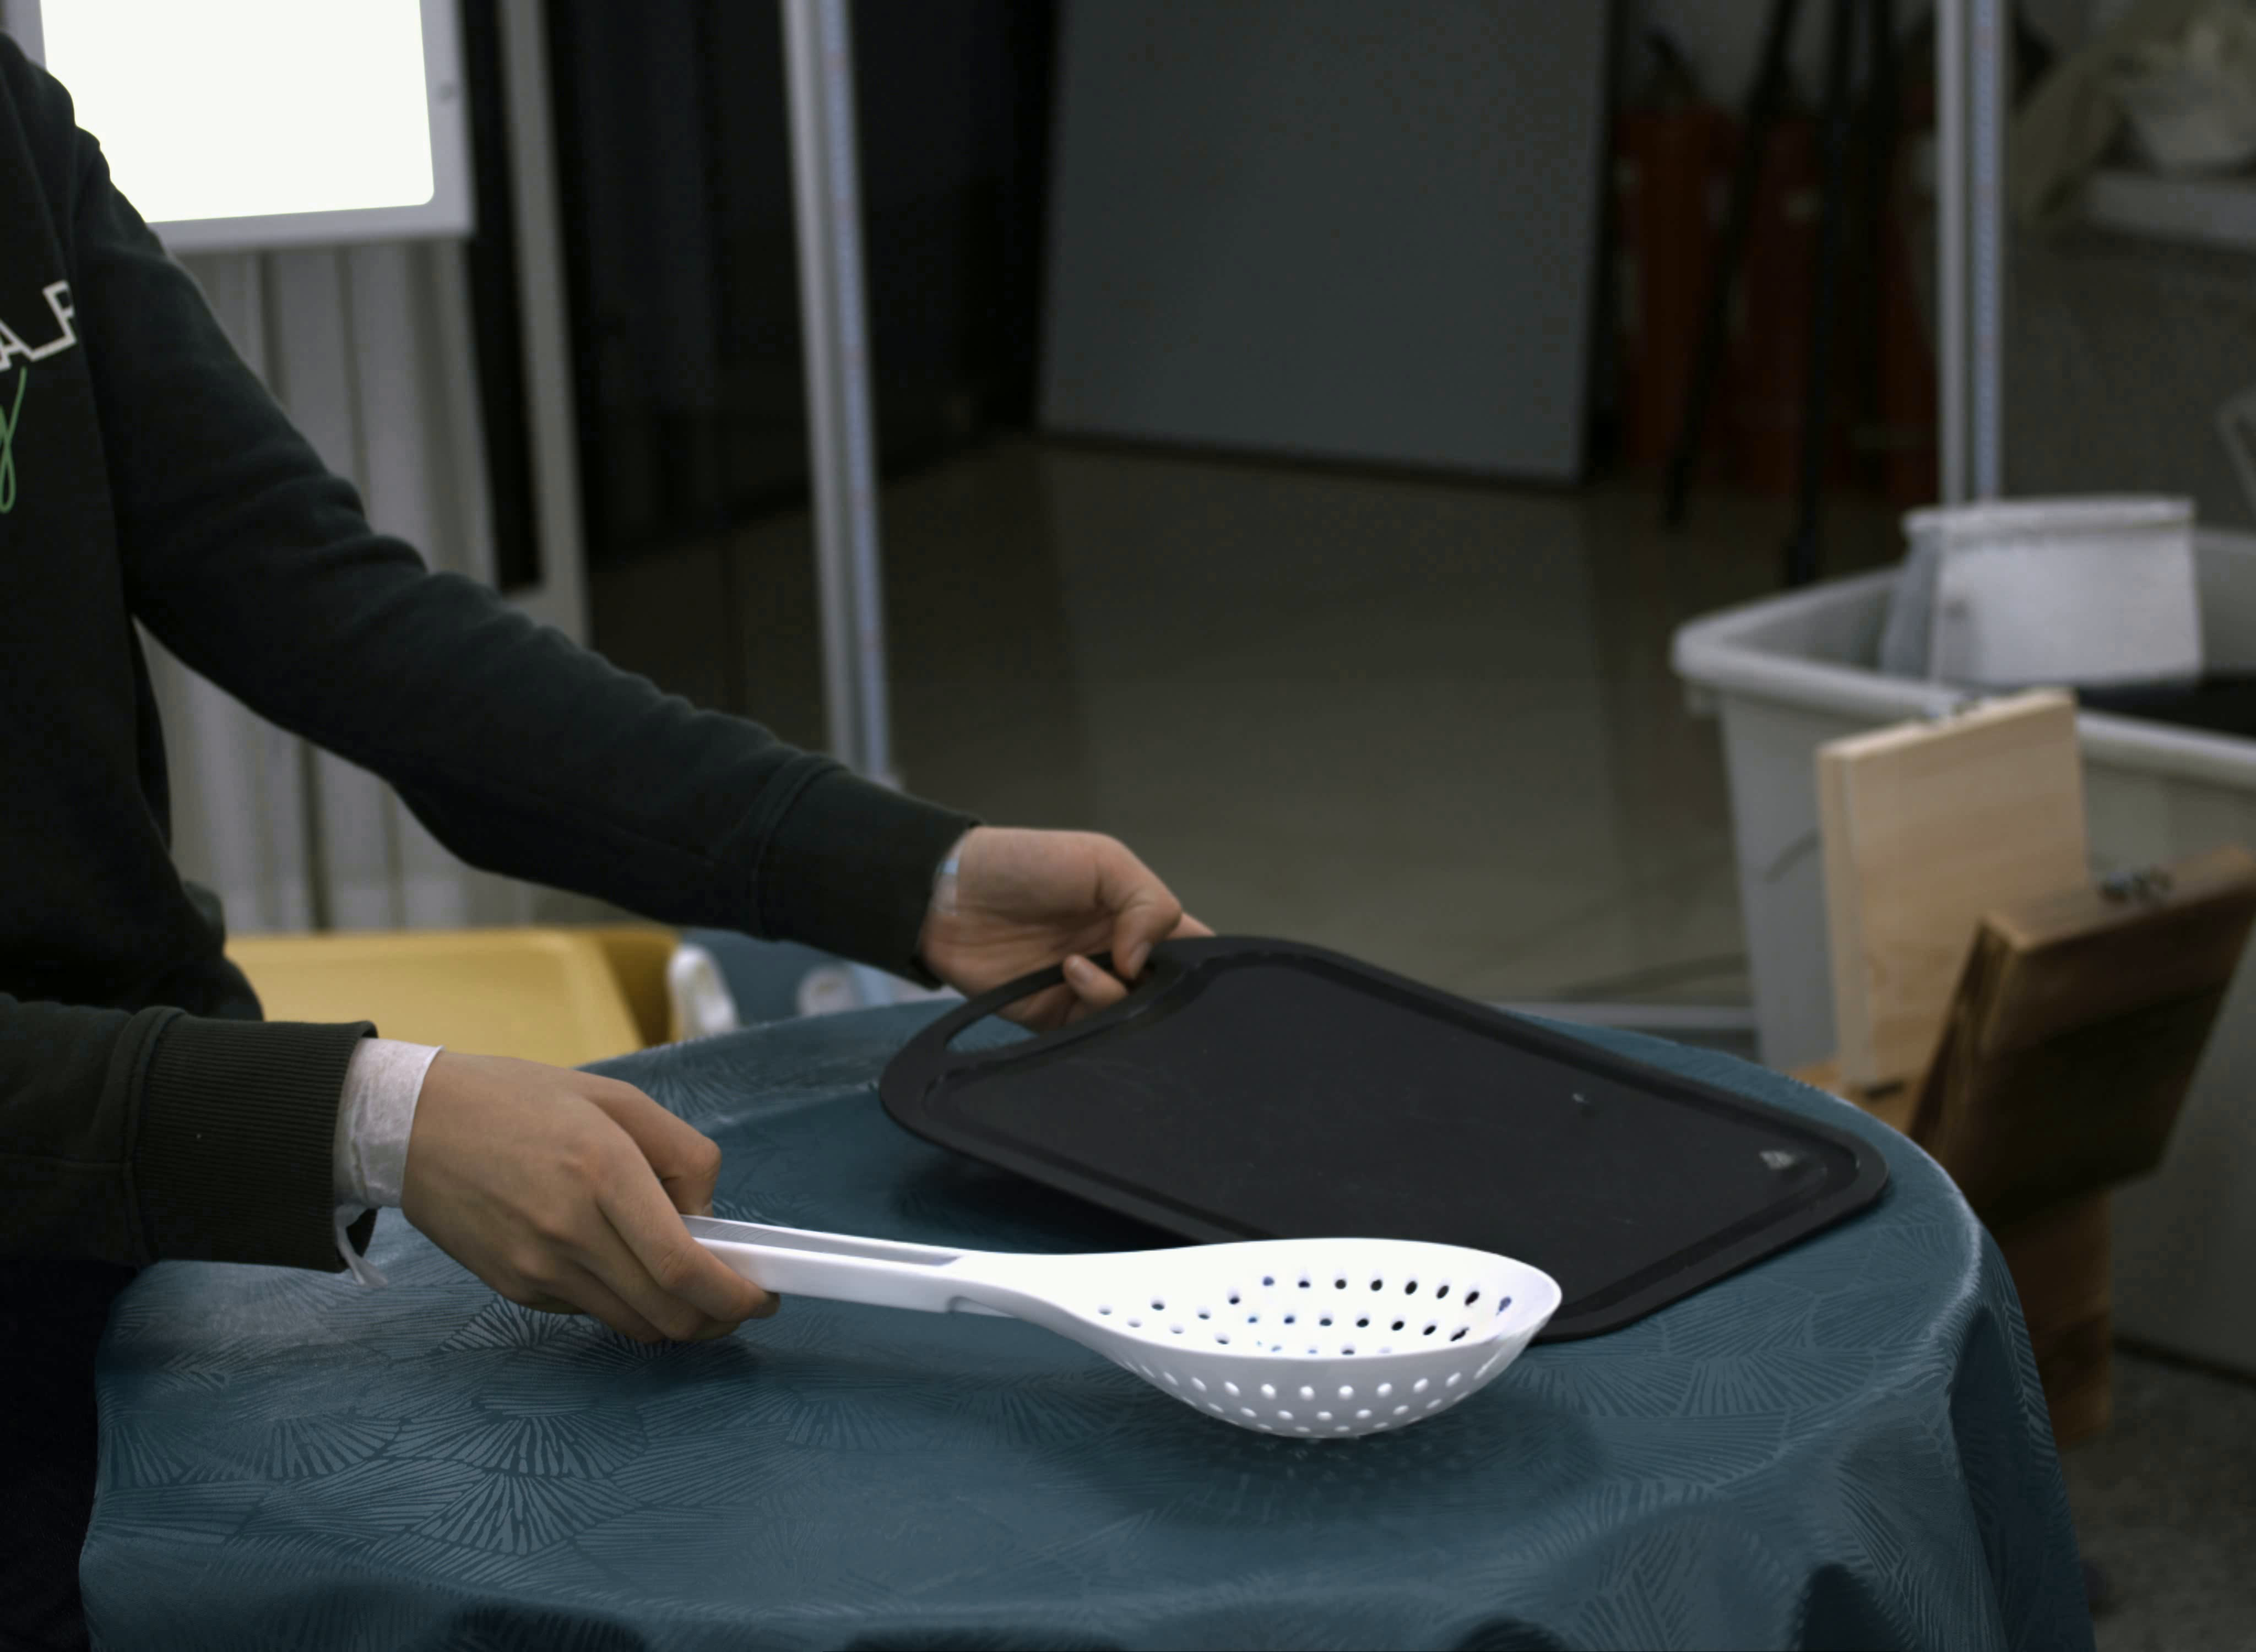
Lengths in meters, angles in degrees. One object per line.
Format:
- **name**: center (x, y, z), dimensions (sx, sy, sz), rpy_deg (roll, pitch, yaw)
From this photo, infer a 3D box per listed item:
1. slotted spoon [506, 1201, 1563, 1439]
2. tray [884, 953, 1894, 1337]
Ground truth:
- **slotted spoon**: center (-0.036, 0.135, 1.591), dimensions (0.351, 0.046, 0.134), rpy_deg (9, 12, 29)
- **tray**: center (0.075, 0.096, 1.758), dimensions (0.328, 0.010, 0.207), rpy_deg (17, 26, 41)
